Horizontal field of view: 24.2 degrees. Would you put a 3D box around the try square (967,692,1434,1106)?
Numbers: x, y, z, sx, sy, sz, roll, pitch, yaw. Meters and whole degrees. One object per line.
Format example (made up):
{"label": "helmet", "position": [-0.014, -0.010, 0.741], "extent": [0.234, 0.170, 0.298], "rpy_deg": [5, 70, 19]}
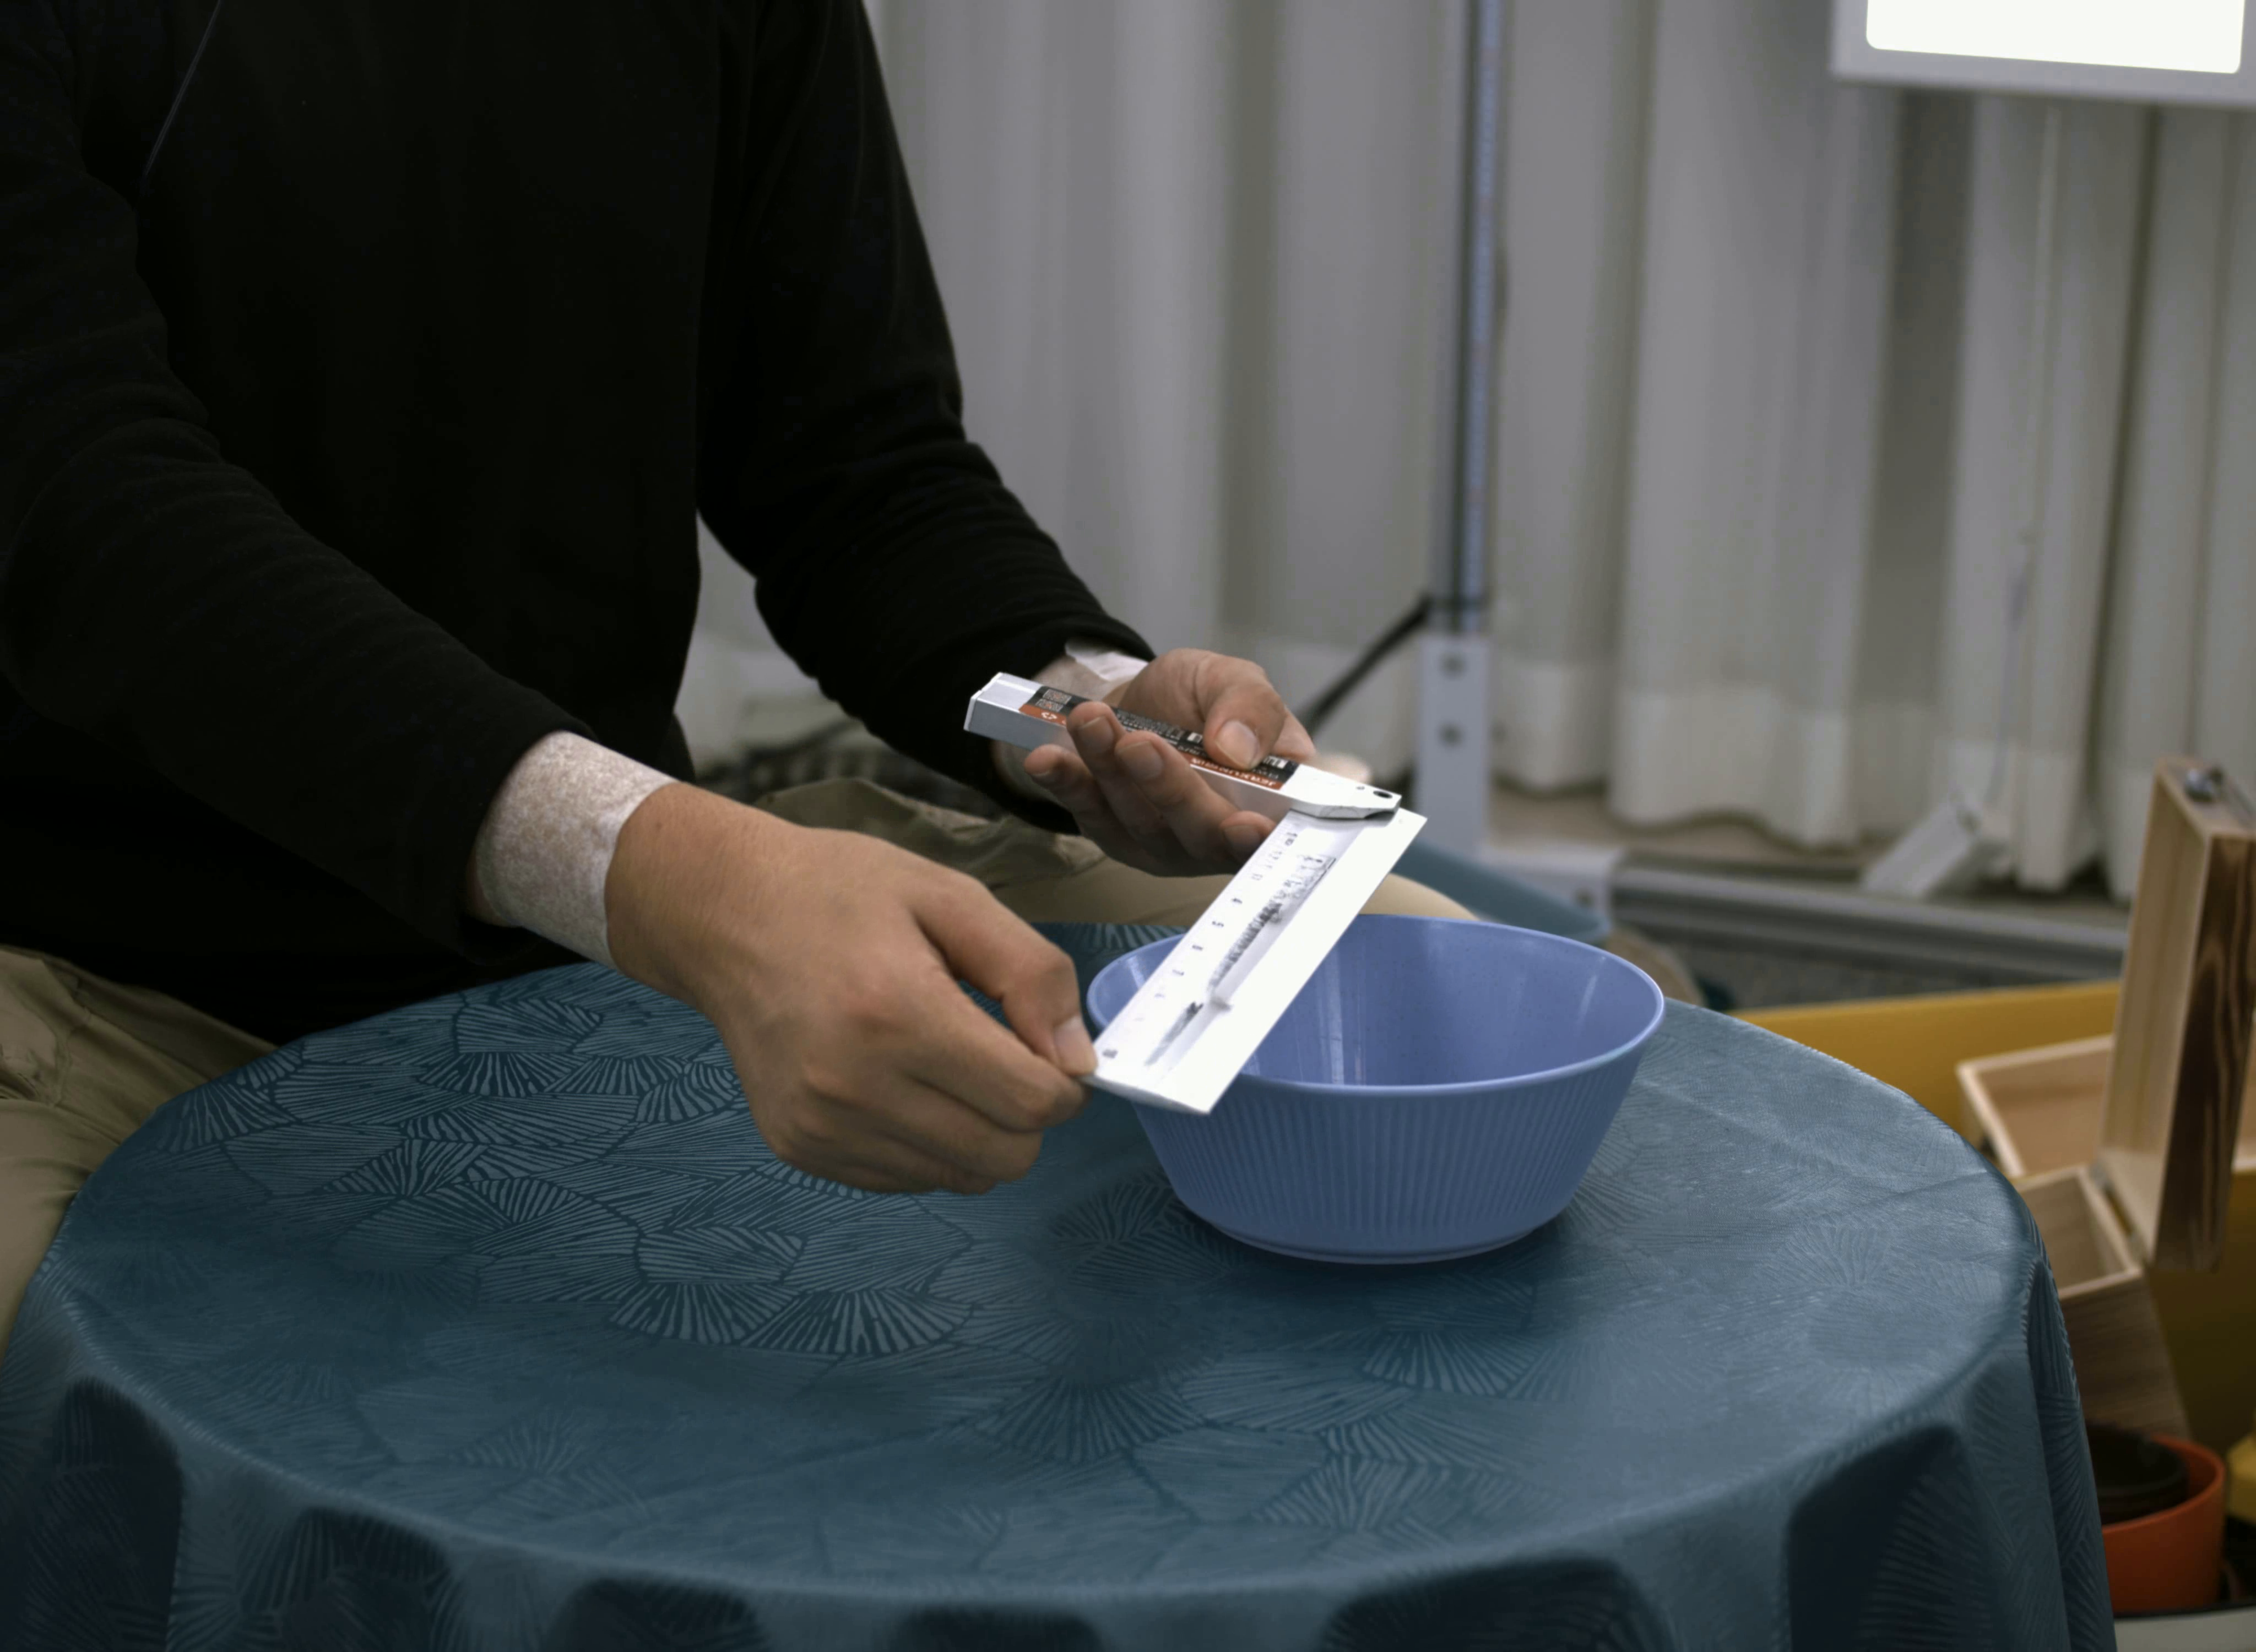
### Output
{"label": "try square", "position": [-0.009, 0.018, 1.587], "extent": [0.151, 0.016, 0.312], "rpy_deg": [15, 18, 10]}

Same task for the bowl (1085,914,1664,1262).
{"label": "bowl", "position": [0.074, 0.082, 1.602], "extent": [0.175, 0.071, 0.175], "rpy_deg": [1, 16, 0]}
